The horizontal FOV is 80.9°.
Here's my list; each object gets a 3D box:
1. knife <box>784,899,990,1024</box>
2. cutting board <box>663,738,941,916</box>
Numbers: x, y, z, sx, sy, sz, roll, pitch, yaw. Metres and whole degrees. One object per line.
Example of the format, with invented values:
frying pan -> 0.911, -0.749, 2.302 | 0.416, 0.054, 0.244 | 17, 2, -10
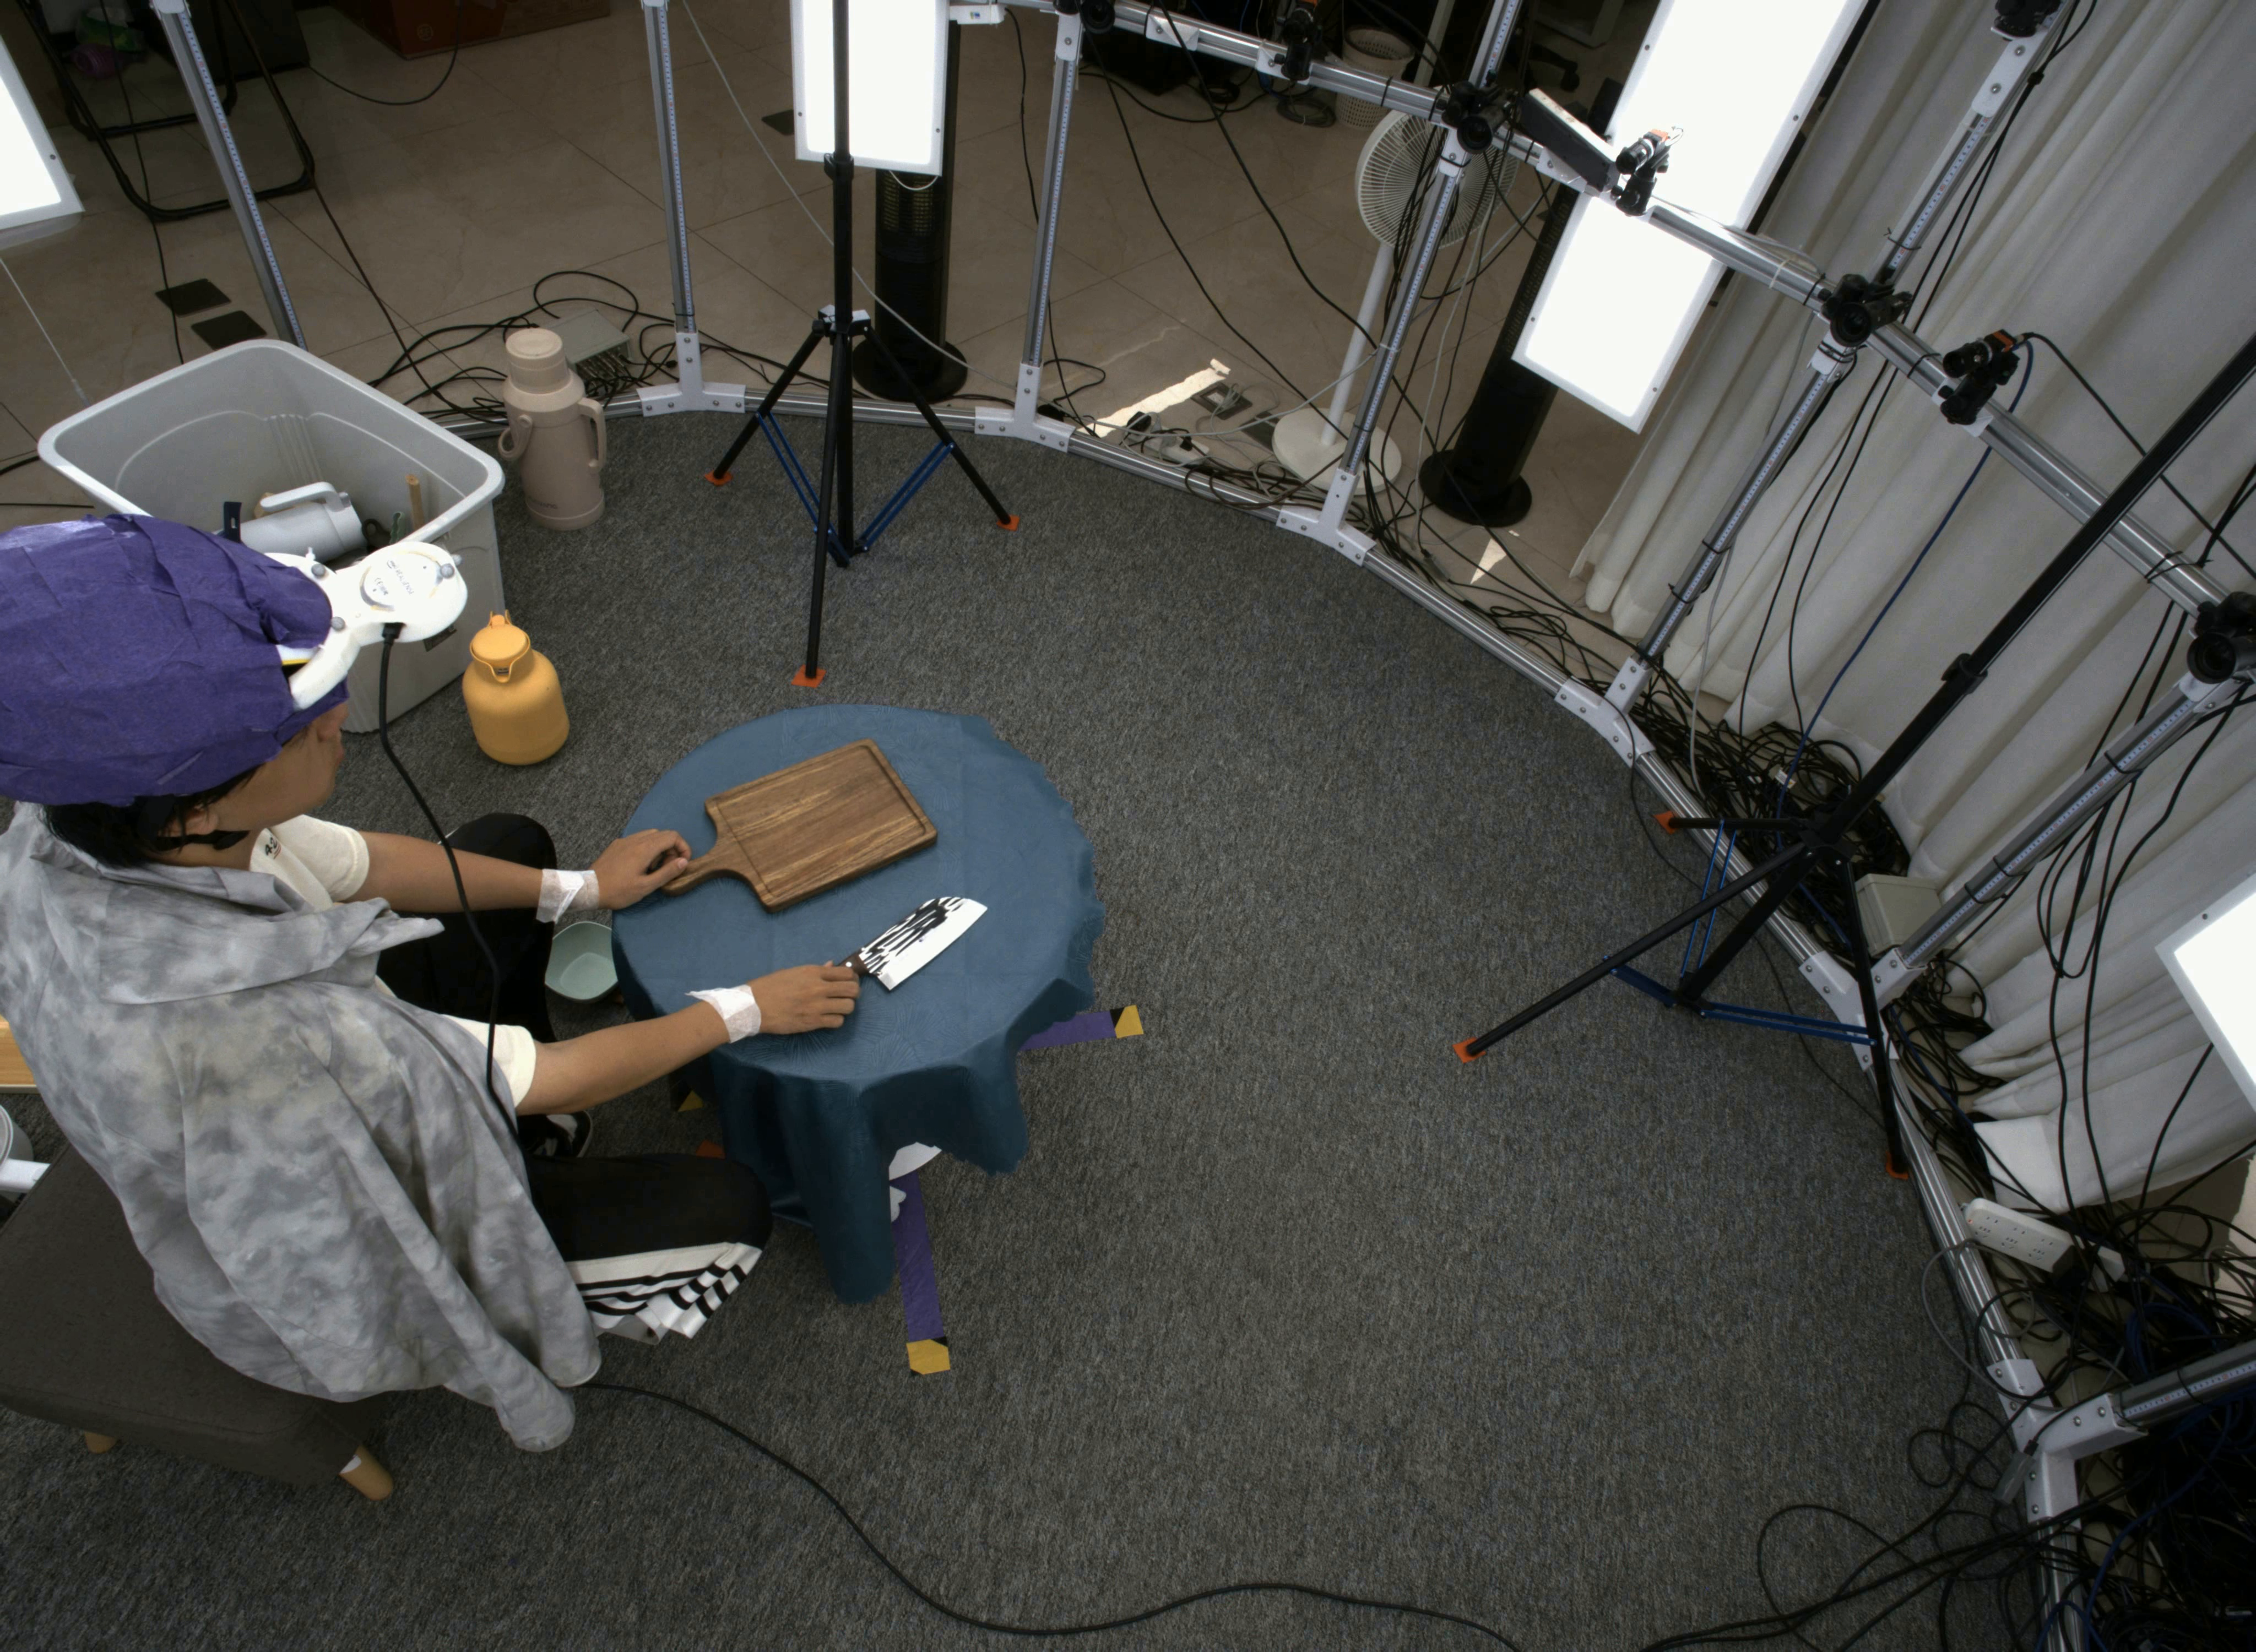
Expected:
knife -> -0.294, 0.167, 1.622 | 0.067, 0.024, 0.300 | 43, 53, 14
cutting board -> -0.442, 0.012, 1.699 | 0.353, 0.023, 0.196 | -25, 63, -28
